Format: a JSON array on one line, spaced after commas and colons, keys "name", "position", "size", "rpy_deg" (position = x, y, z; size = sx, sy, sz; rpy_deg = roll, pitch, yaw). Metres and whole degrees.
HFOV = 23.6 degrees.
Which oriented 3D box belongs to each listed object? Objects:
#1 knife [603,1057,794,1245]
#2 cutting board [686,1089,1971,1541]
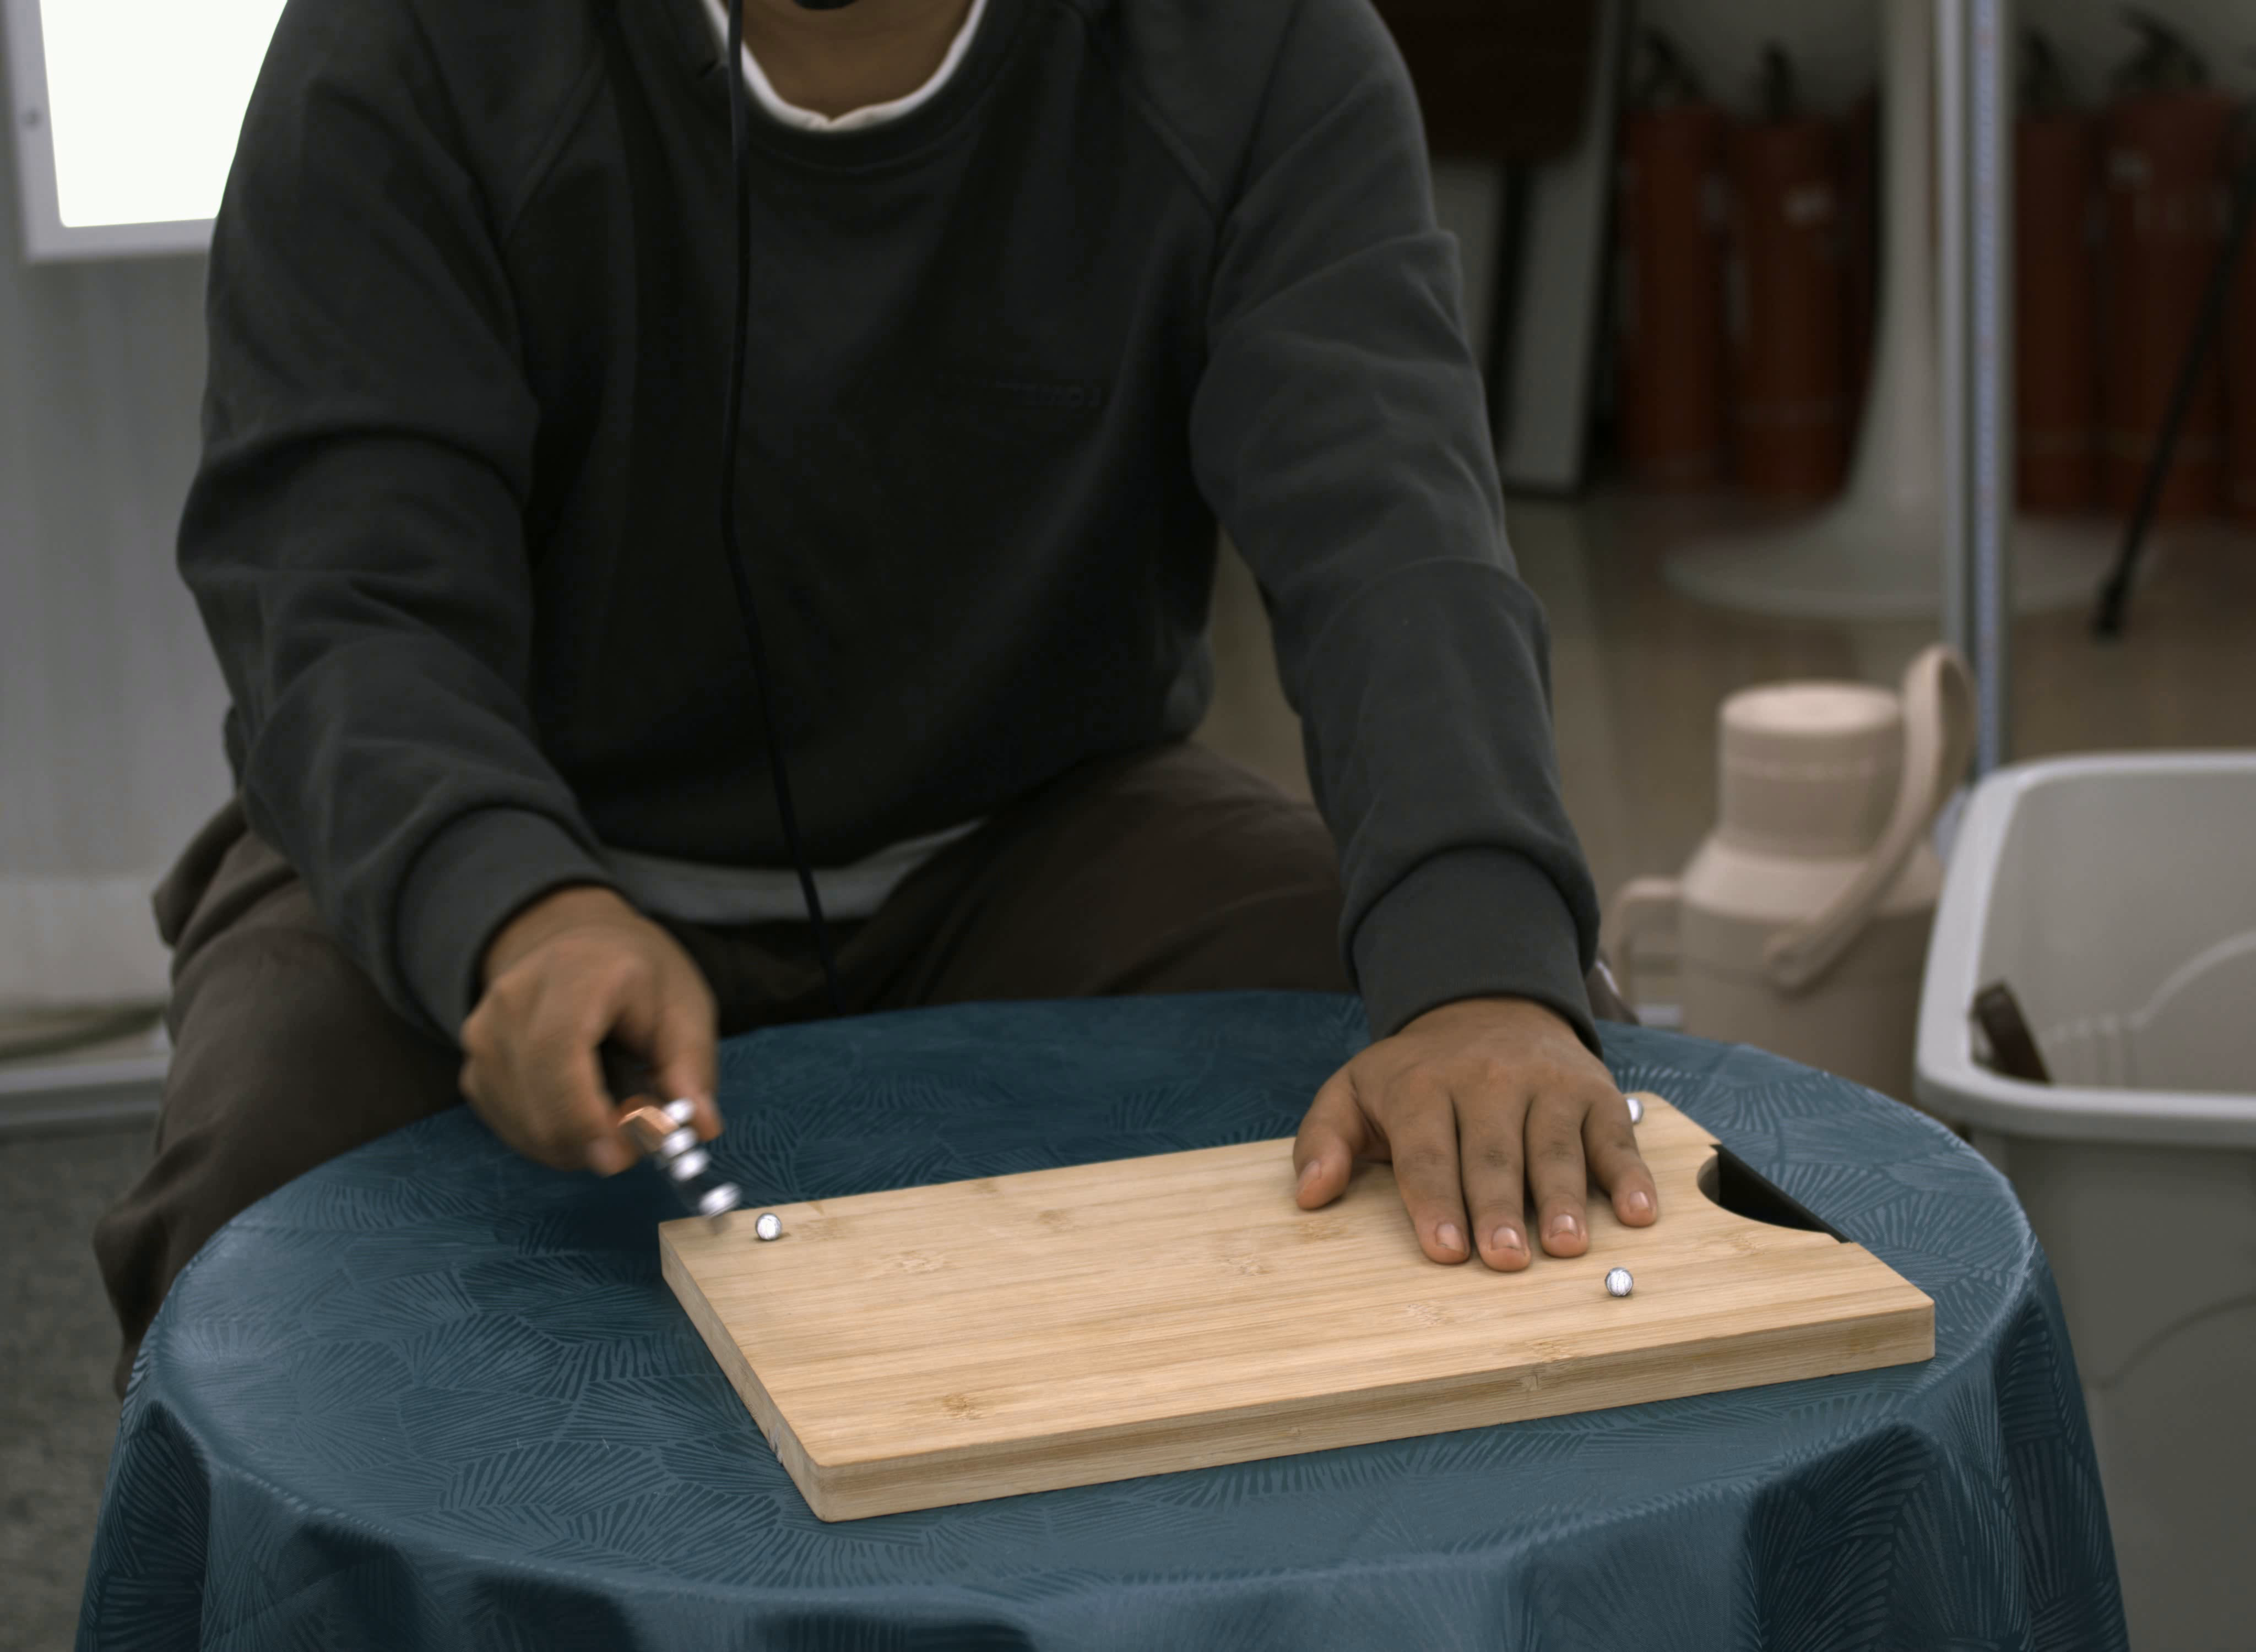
[{"name": "knife", "position": [-0.134, 0.099, 1.665], "size": [0.017, 0.026, 0.227], "rpy_deg": [-50, 18, -4]}, {"name": "cutting board", "position": [0.050, 0.142, 1.642], "size": [0.342, 0.024, 0.253], "rpy_deg": [-8, 15, -14]}]
